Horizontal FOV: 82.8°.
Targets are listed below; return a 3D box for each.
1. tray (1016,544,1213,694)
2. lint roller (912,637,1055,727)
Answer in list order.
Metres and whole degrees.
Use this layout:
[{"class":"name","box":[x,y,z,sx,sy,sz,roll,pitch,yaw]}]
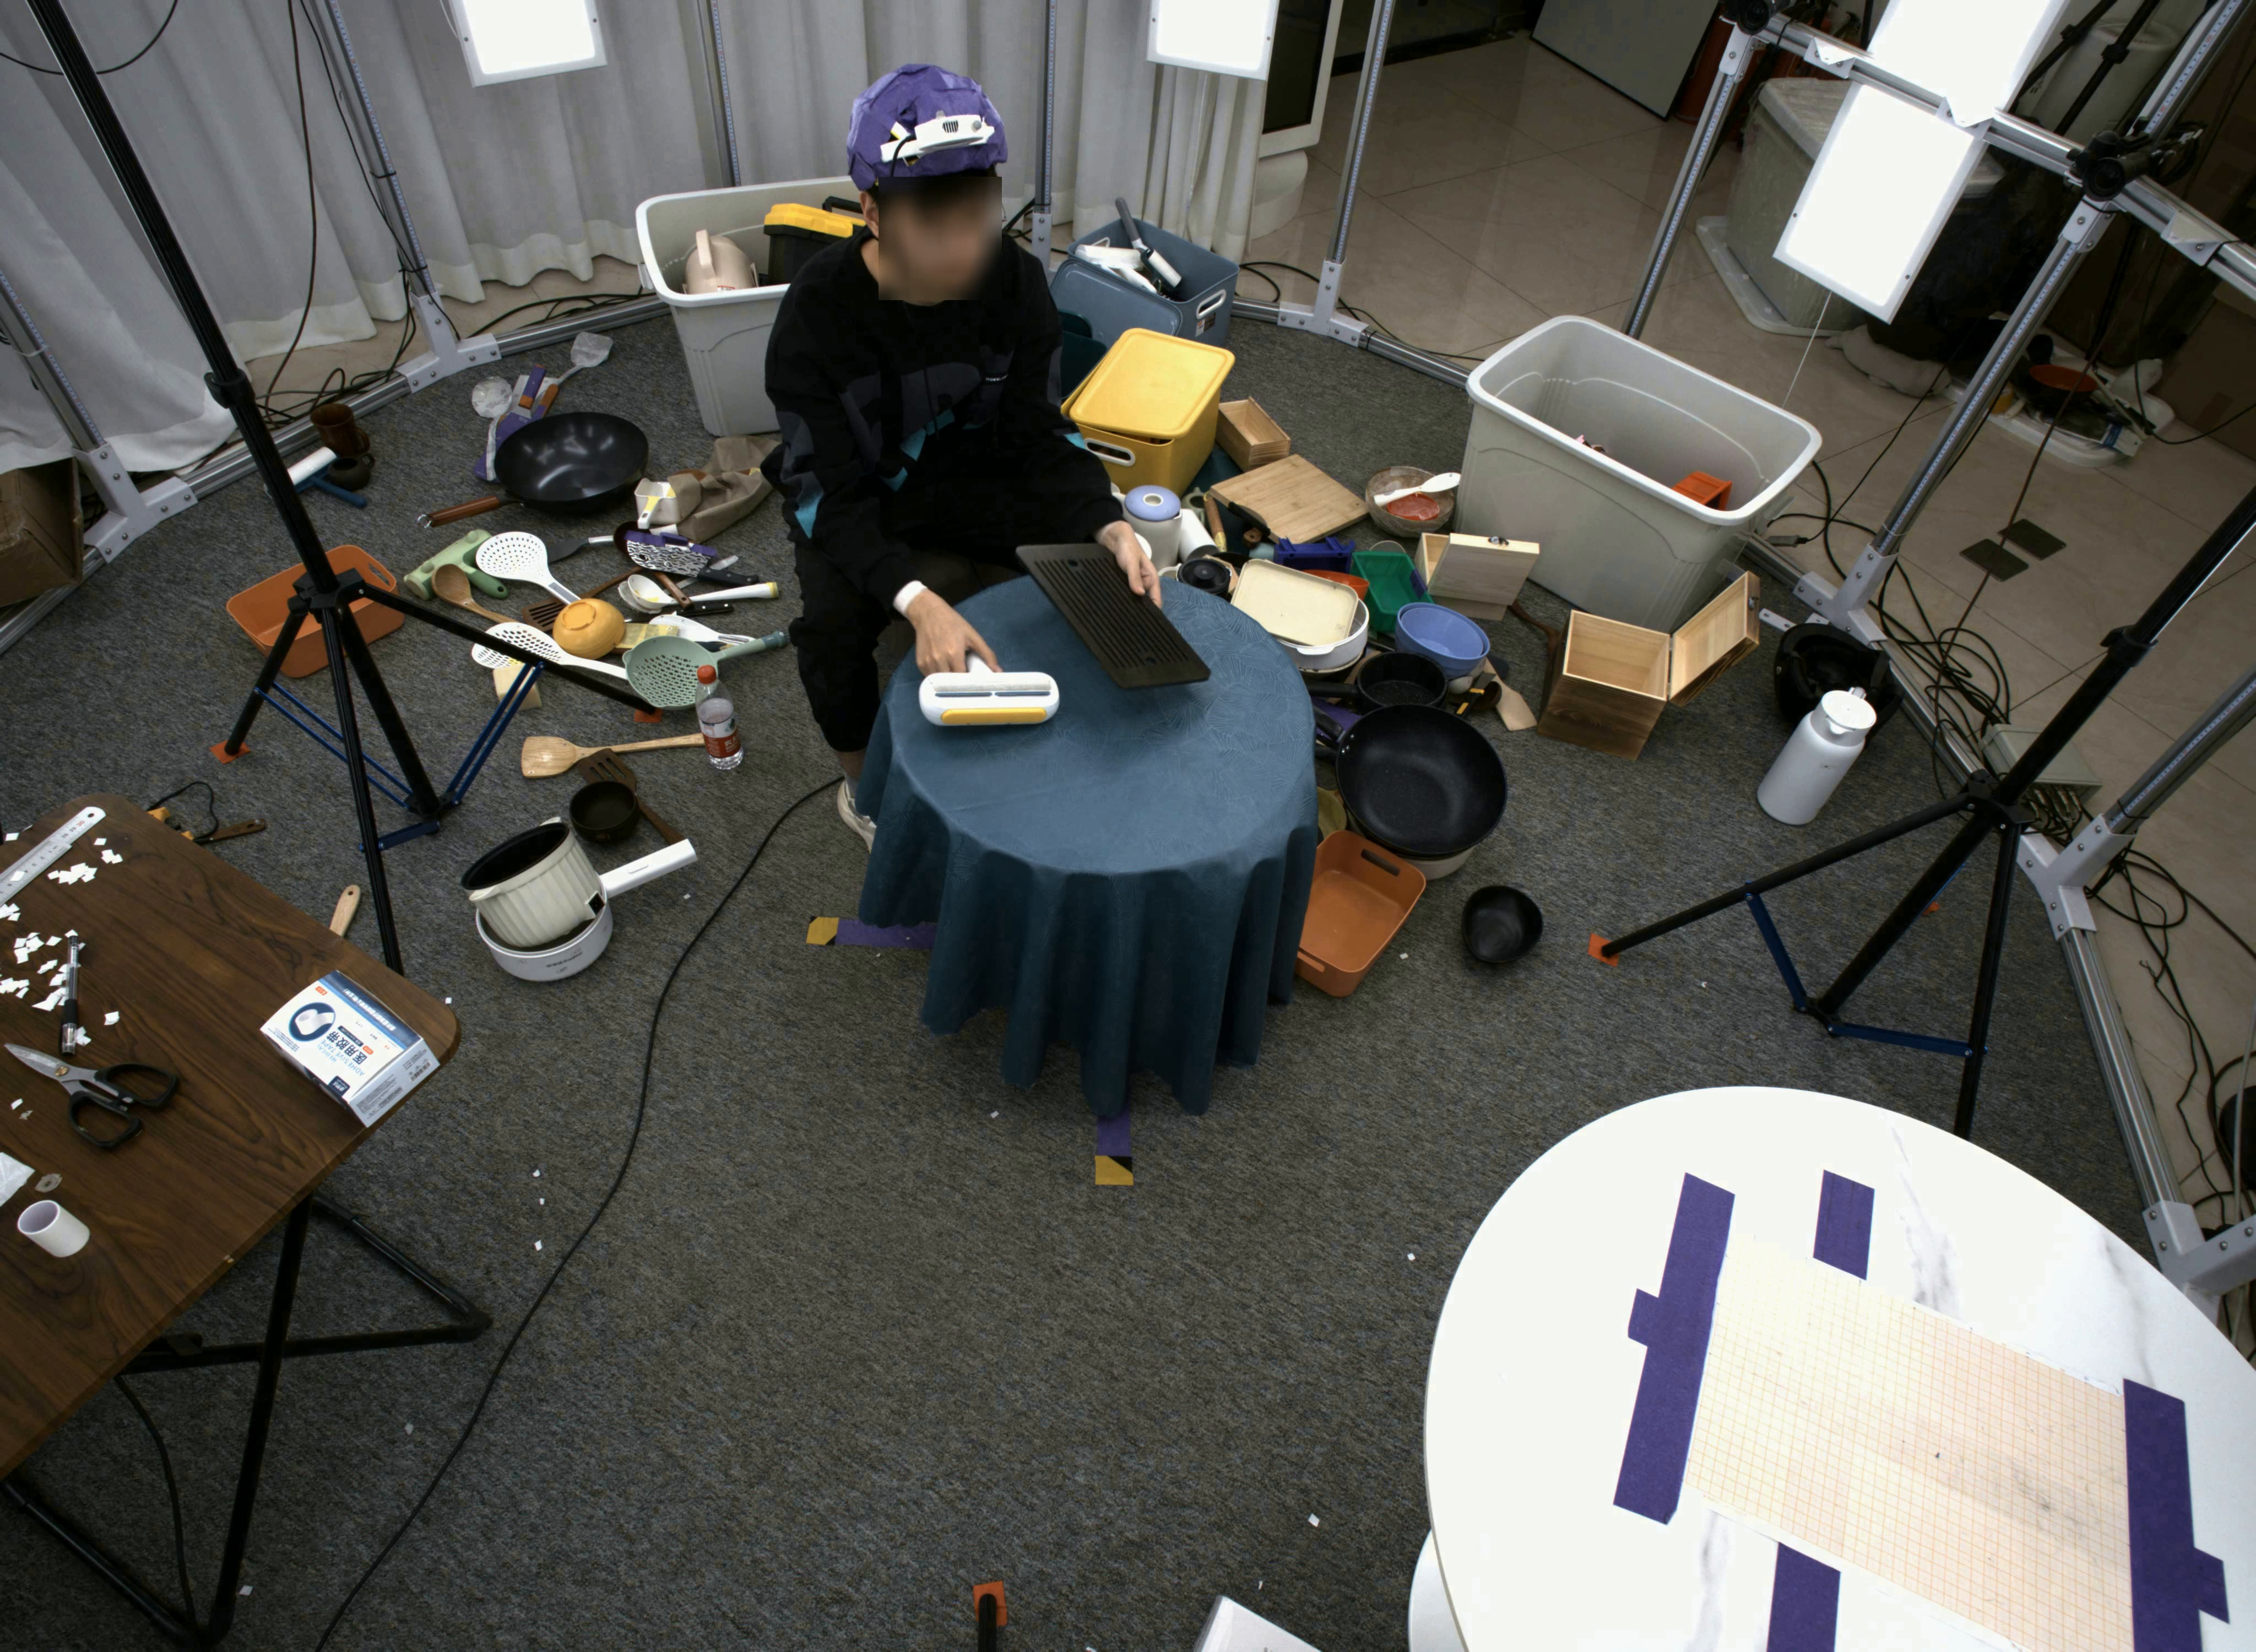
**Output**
[{"class":"tray","box":[-0.022,-0.300,1.839,0.170,0.018,0.312,-12,53,-36]},{"class":"lint roller","box":[-0.208,-0.212,1.795,0.192,0.072,0.197,-3,48,-13]}]
